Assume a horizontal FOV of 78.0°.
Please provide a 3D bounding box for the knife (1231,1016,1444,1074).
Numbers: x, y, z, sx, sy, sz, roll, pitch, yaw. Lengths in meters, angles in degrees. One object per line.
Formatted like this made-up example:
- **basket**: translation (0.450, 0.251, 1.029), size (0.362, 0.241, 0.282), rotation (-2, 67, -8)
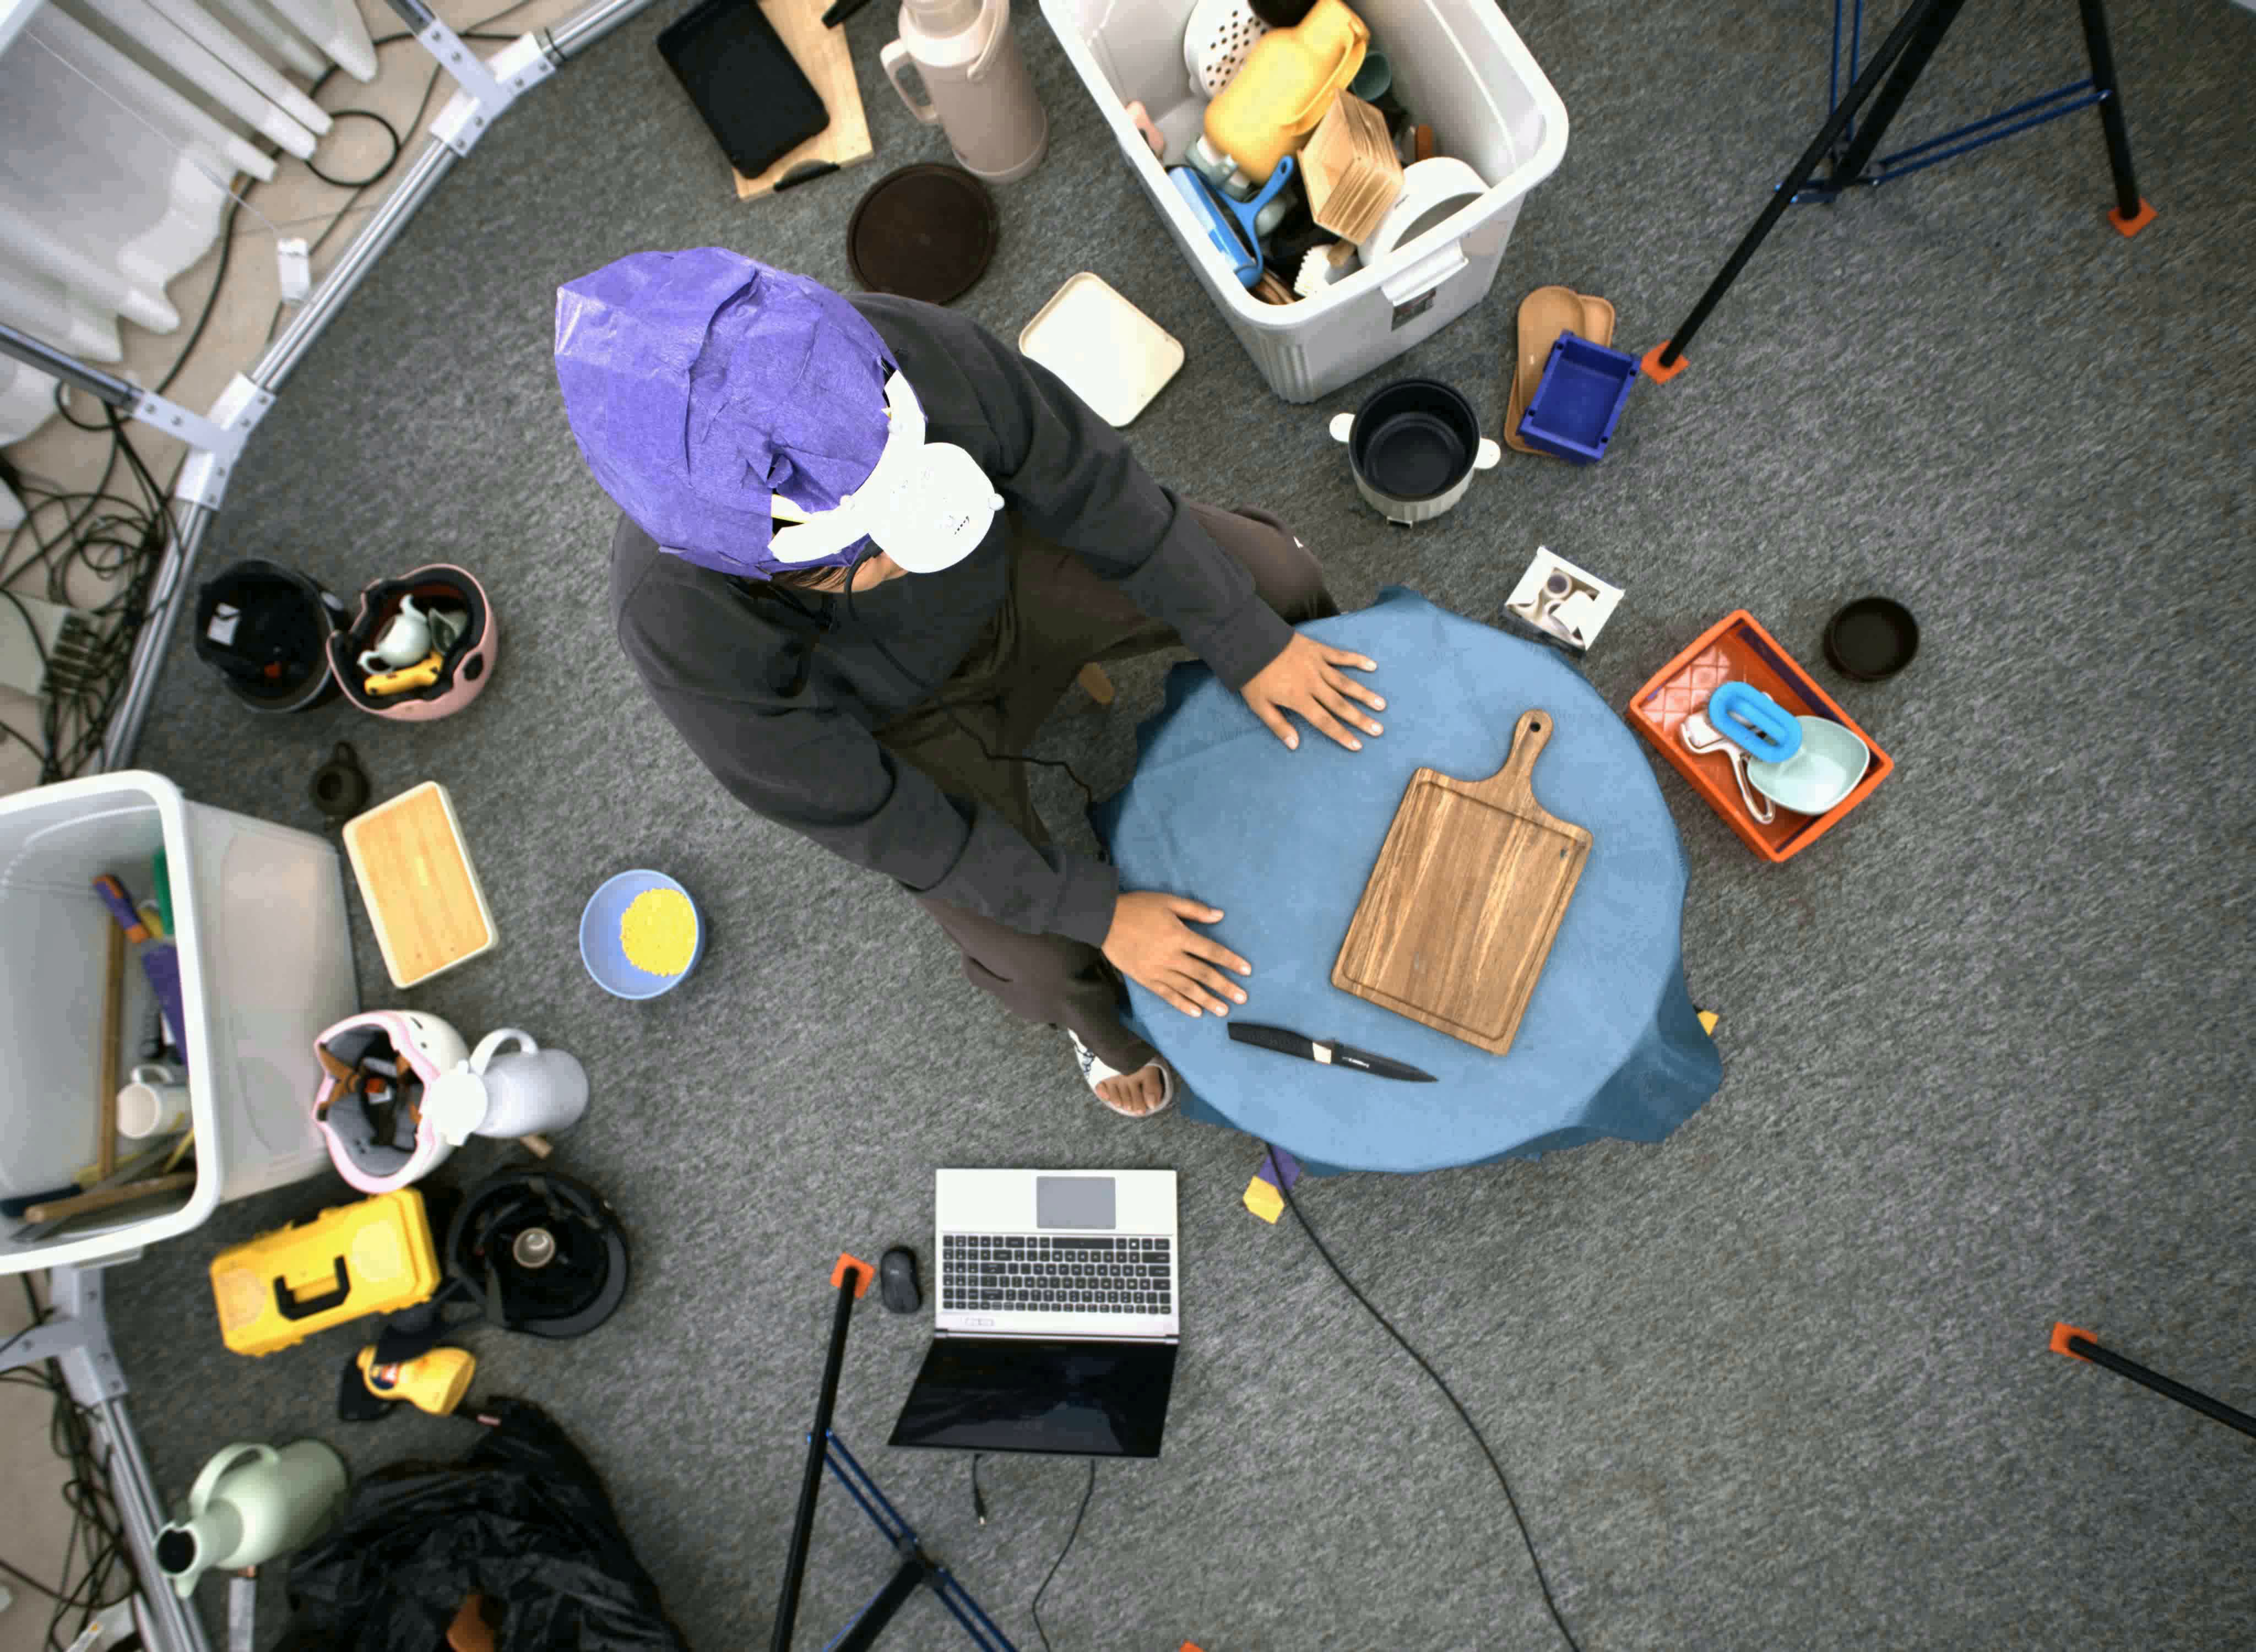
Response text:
- **knife**: translation (0.219, 0.233, 1.456), size (0.226, 0.017, 0.026), rotation (13, 81, 11)

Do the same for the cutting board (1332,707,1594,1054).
- **cutting board**: translation (0.366, 0.039, 1.434), size (0.201, 0.023, 0.352), rotation (22, 91, 11)
